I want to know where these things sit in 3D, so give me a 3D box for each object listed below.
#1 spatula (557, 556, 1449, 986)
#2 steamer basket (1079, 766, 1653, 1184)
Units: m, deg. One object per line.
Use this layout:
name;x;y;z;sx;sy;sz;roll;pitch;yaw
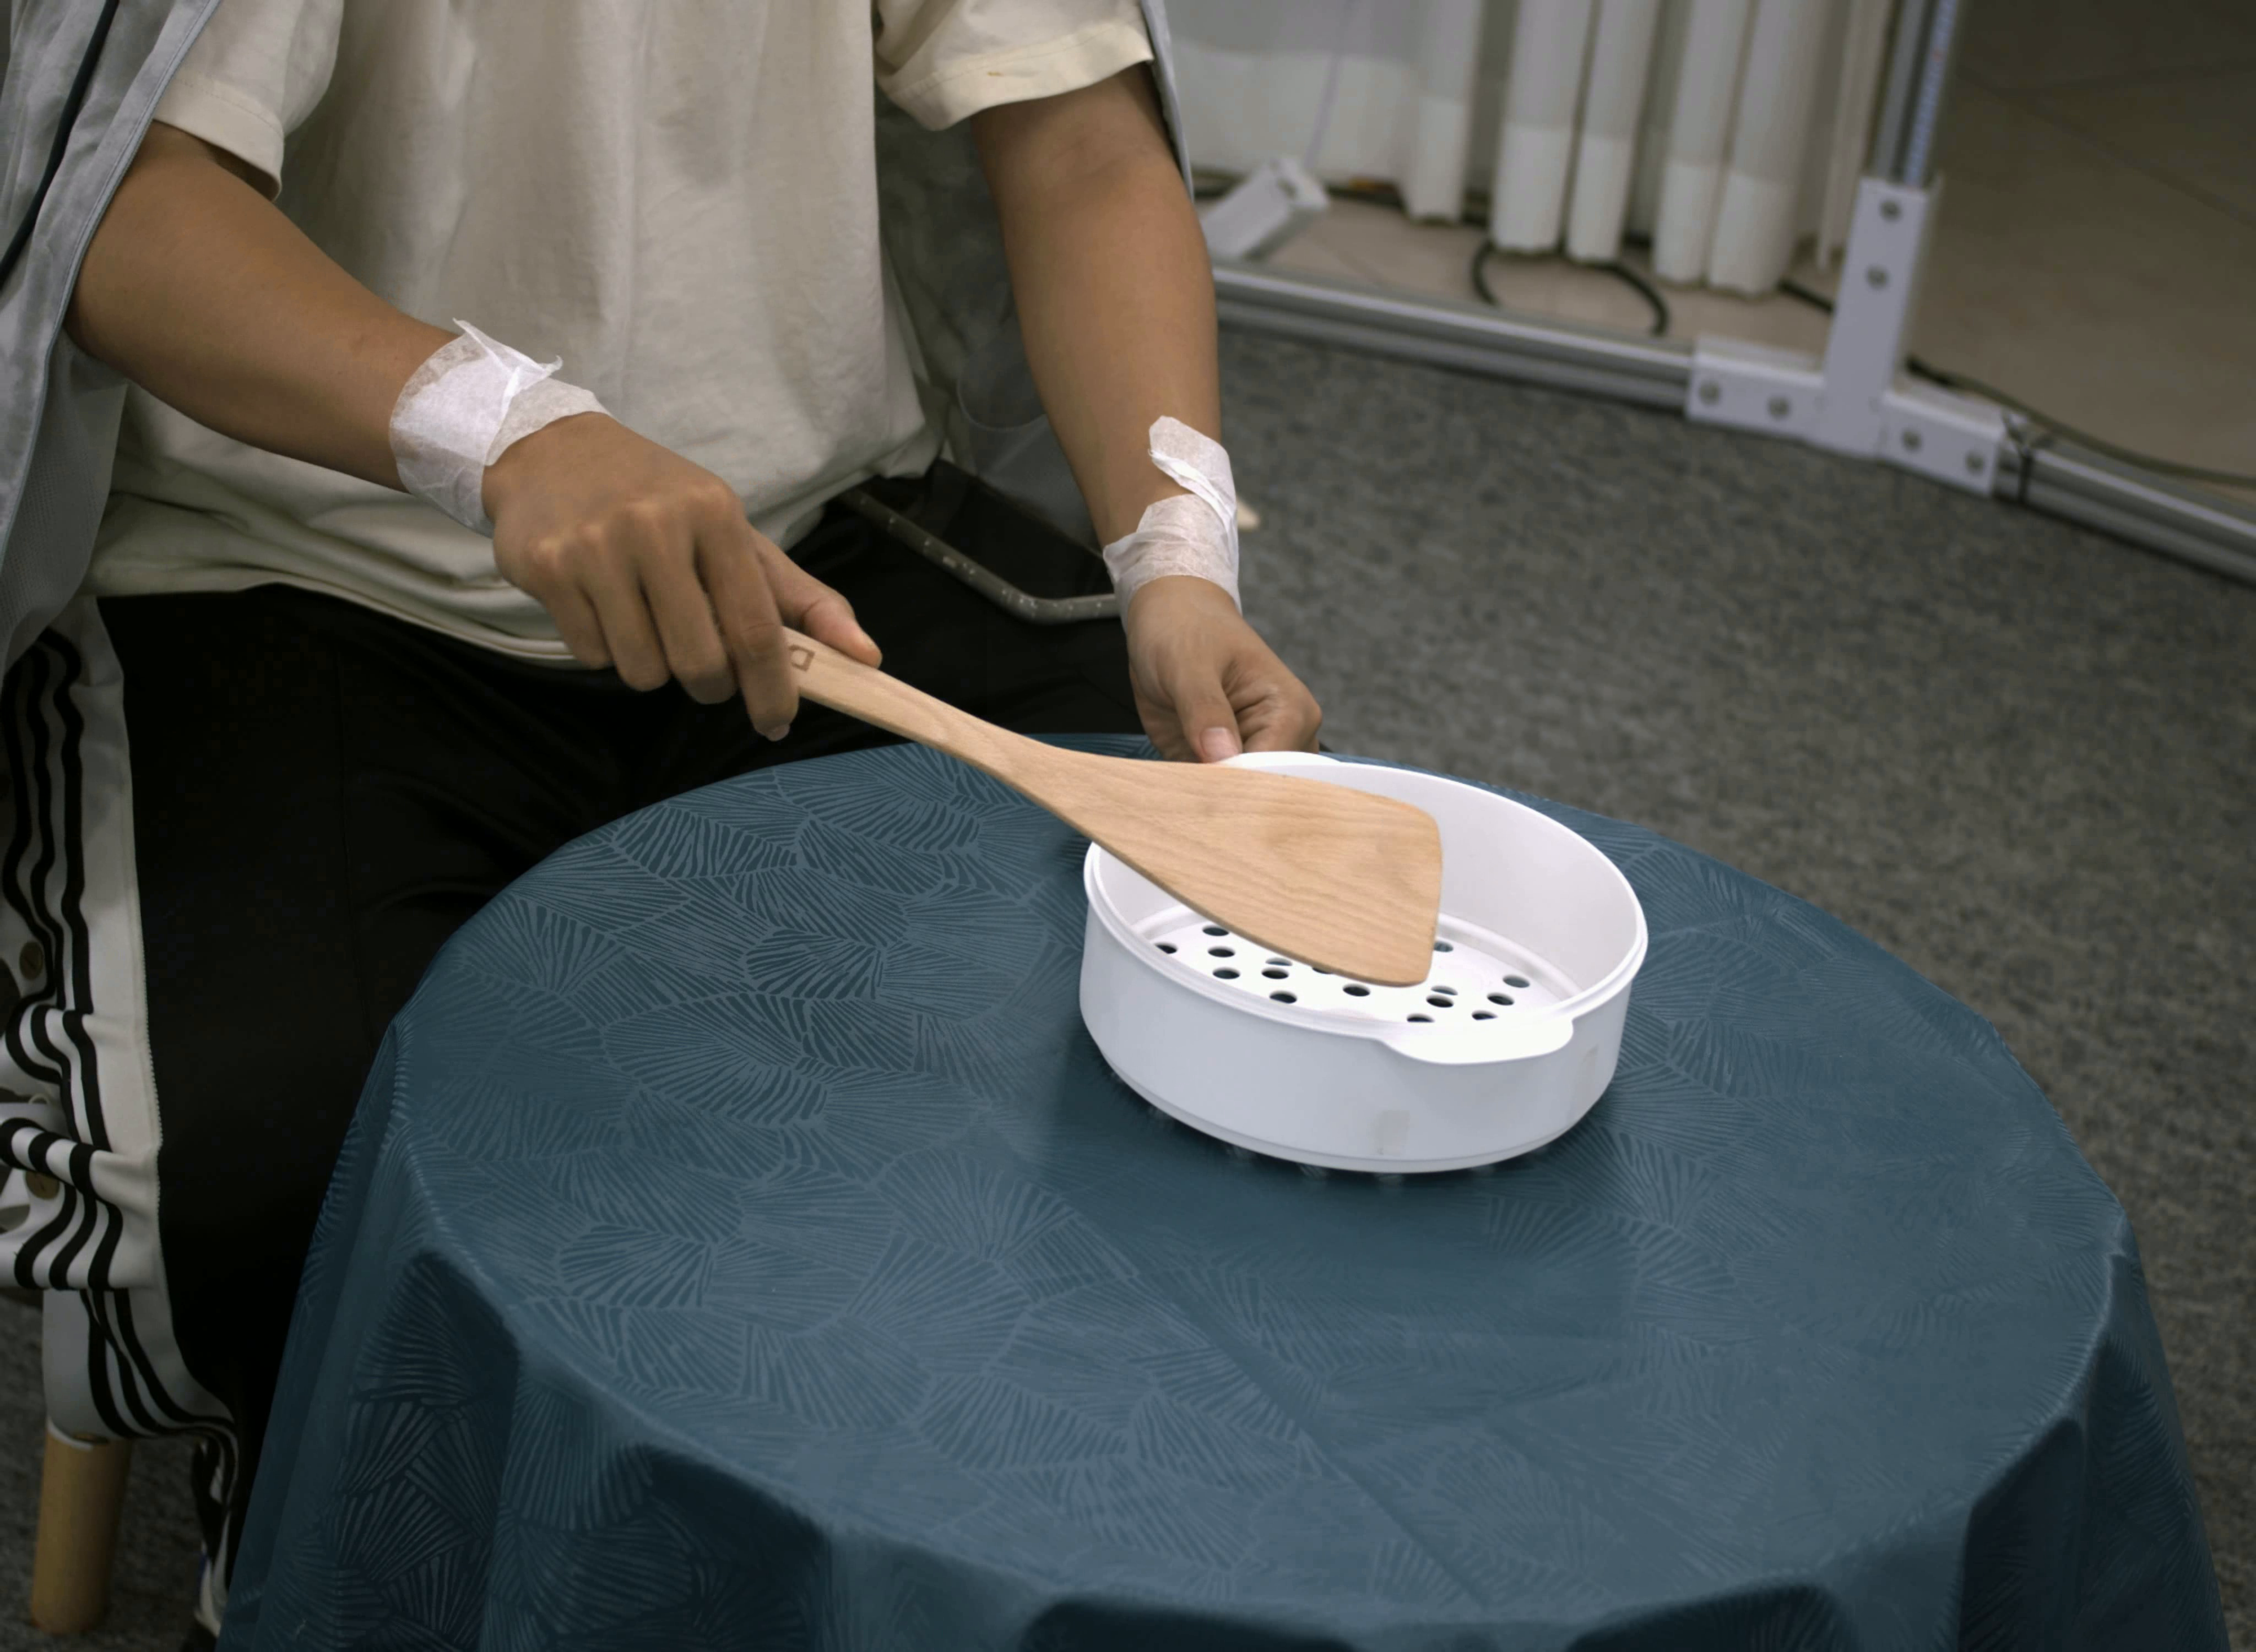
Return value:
spatula;-0.041;-0.028;1.811;0.327;0.016;0.080;22;49;0
steamer basket;0.082;0.054;1.888;0.200;0.069;0.232;-3;28;-21
